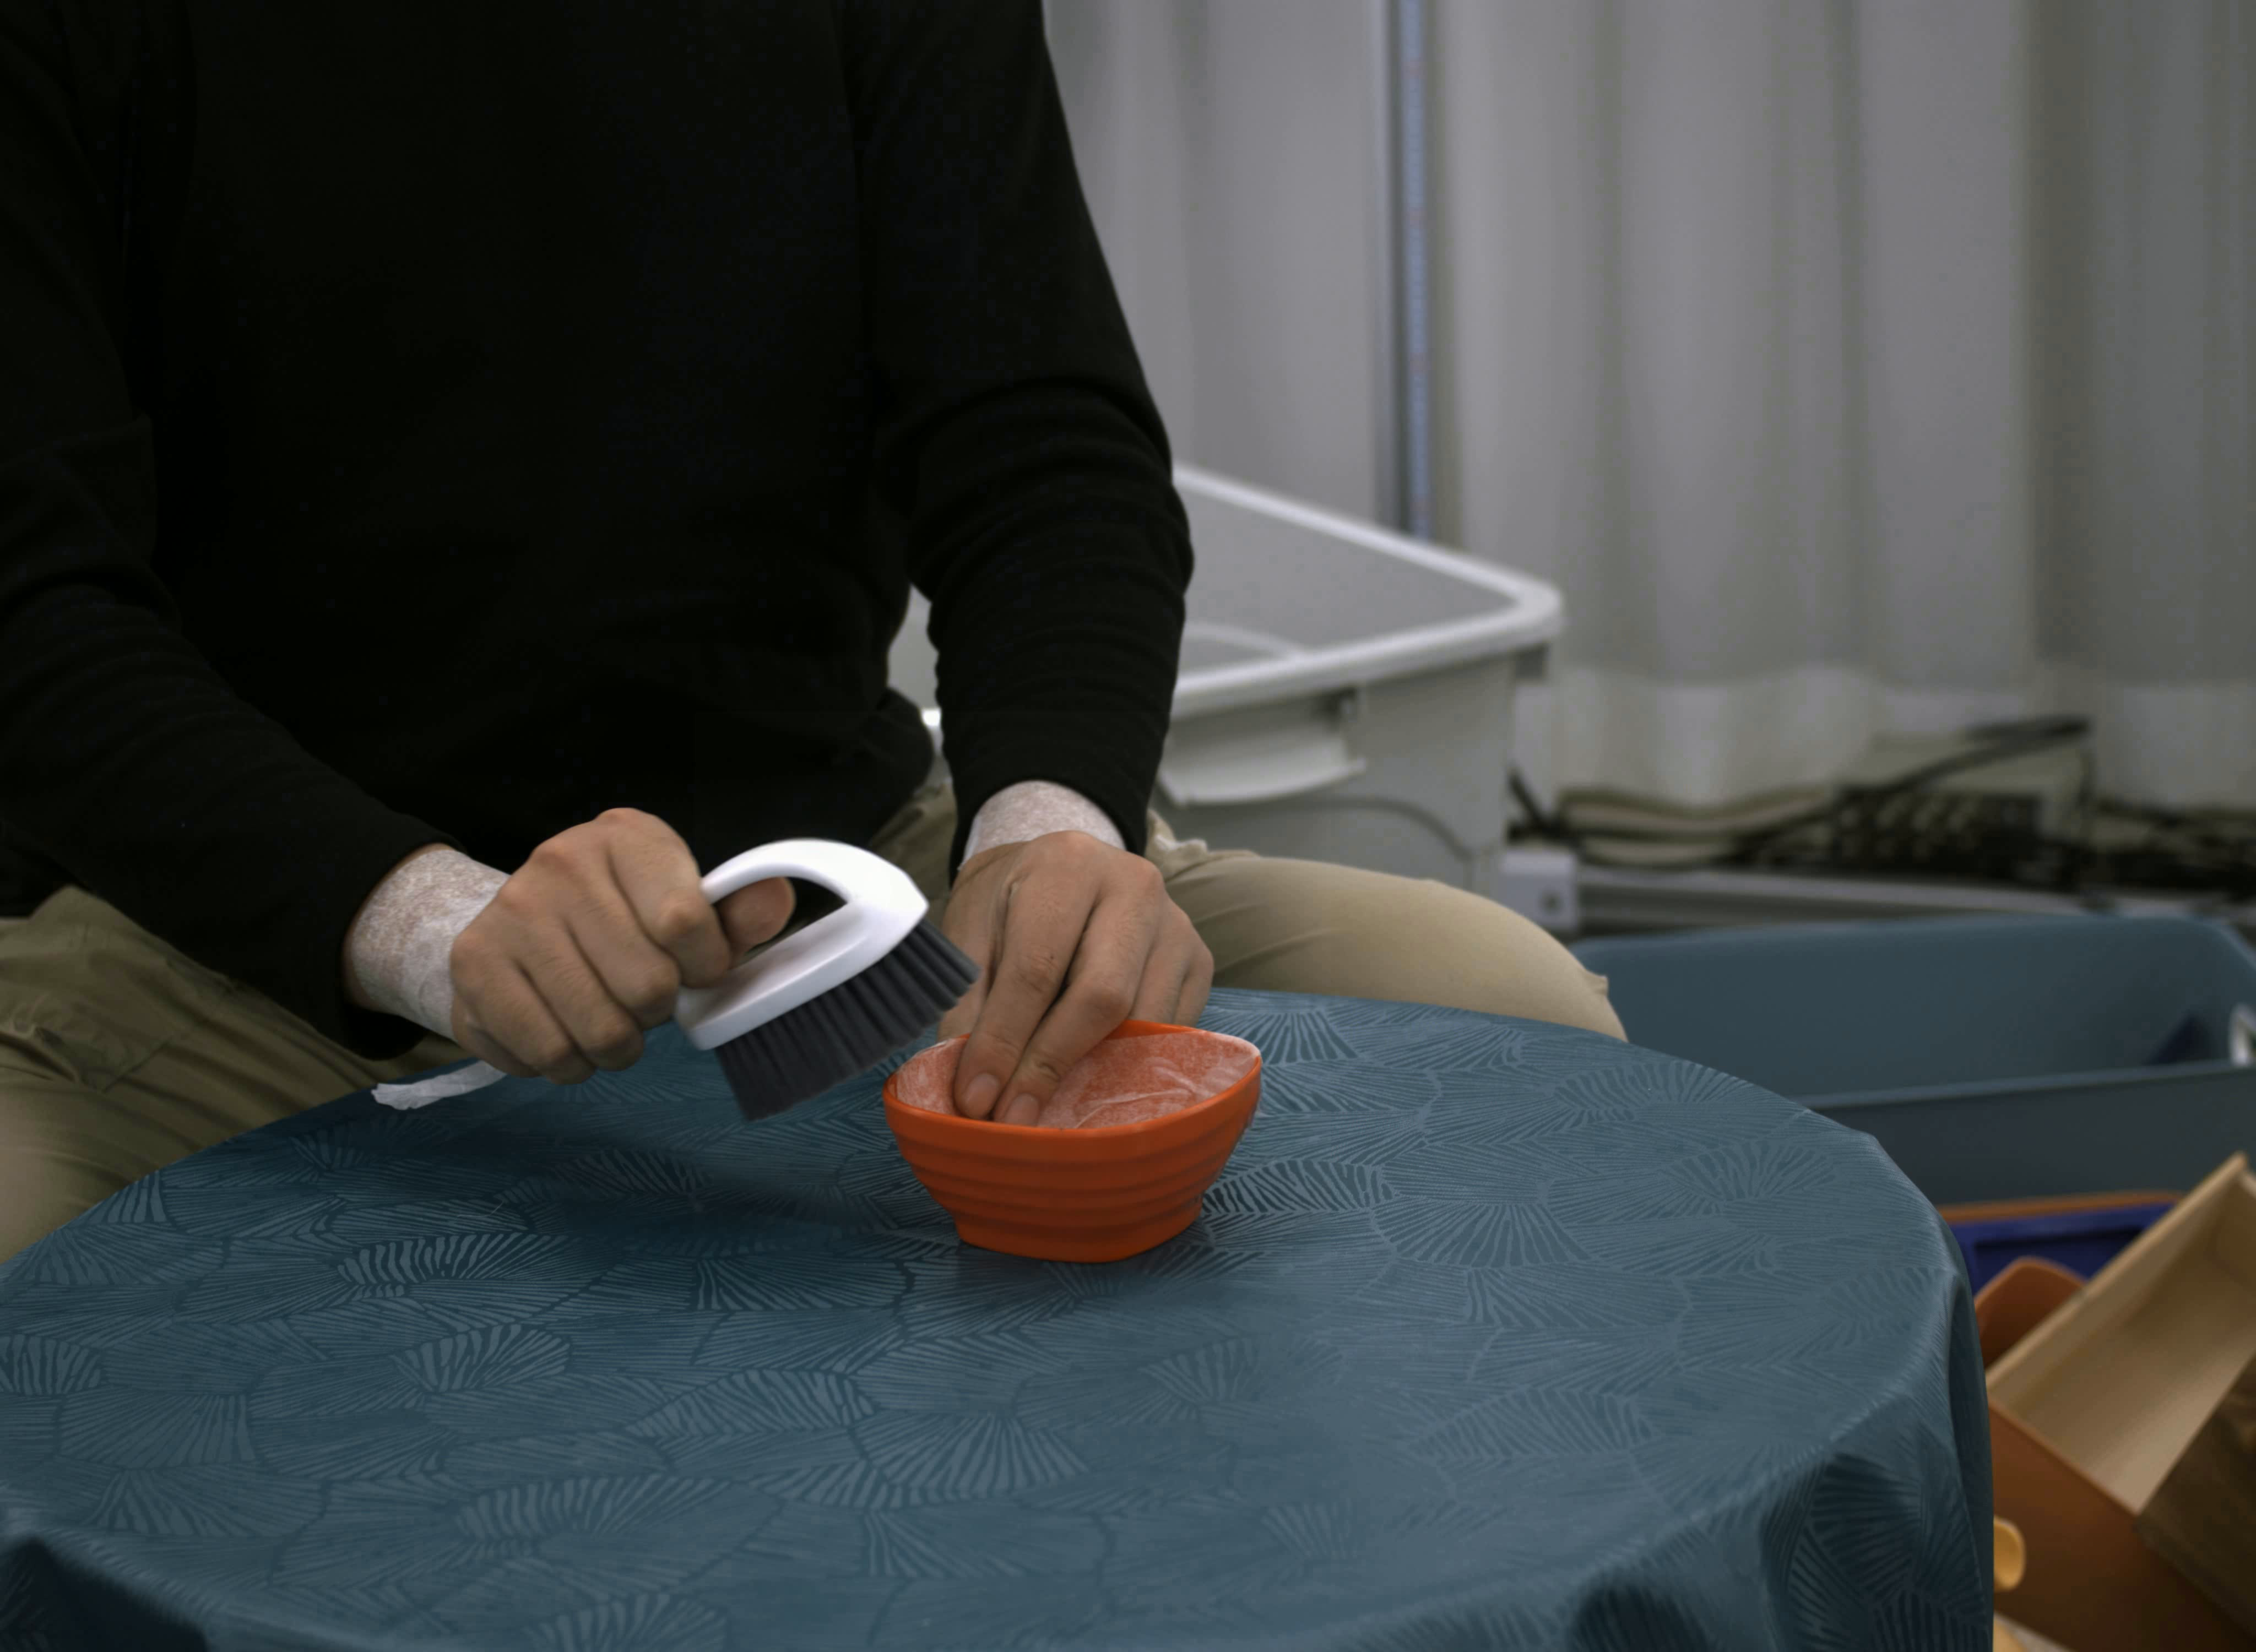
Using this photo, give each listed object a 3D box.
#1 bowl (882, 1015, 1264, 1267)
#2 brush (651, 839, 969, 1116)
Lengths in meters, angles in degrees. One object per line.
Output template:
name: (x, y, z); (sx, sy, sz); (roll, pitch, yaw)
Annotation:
bowl: (-0.016, 0.099, 1.678); (0.118, 0.051, 0.120); (-2, 15, 0)
brush: (-0.106, 0.041, 1.682); (0.099, 0.072, 0.050); (-27, 17, 43)
